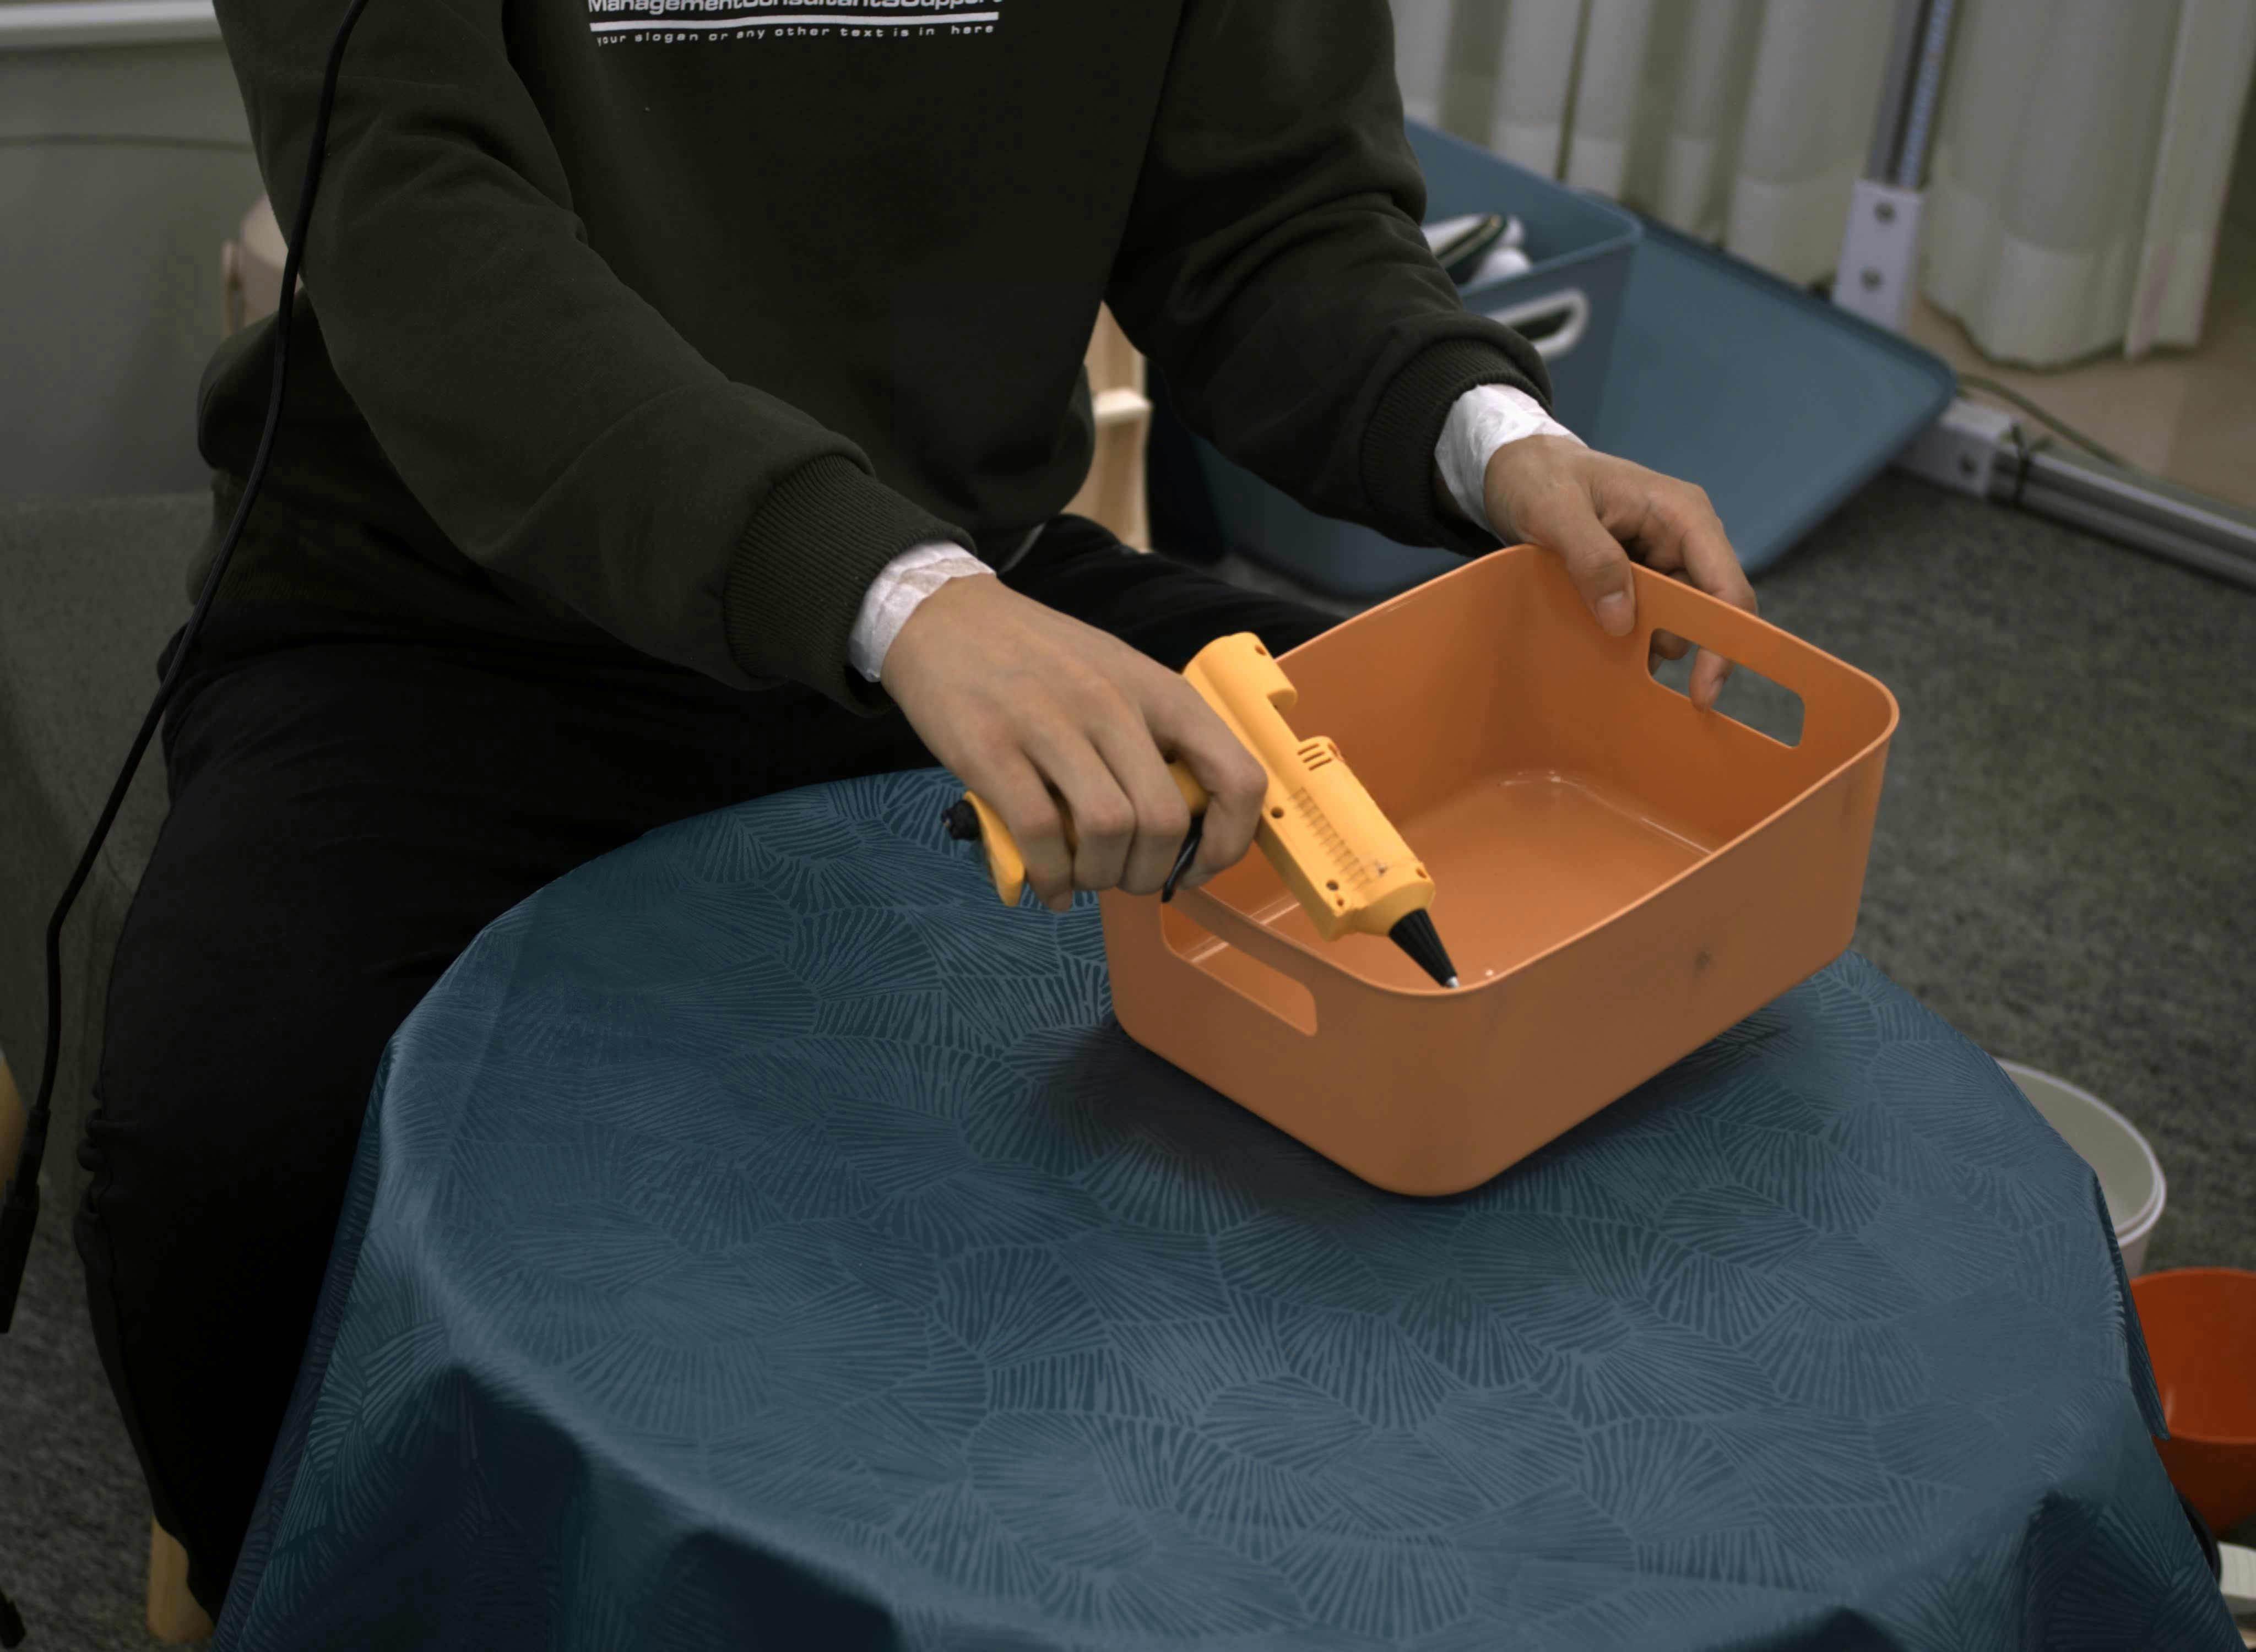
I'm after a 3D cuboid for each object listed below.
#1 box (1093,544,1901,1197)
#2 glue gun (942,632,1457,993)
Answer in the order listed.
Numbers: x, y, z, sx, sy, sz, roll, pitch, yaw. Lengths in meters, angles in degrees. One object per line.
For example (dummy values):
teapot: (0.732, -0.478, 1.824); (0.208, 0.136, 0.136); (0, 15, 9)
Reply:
box: (0.130, 0.015, 1.908); (0.272, 0.102, 0.201); (-29, 42, -35)
glue gun: (0.033, 0.019, 1.775); (0.133, 0.031, 0.152); (-31, 67, -24)
